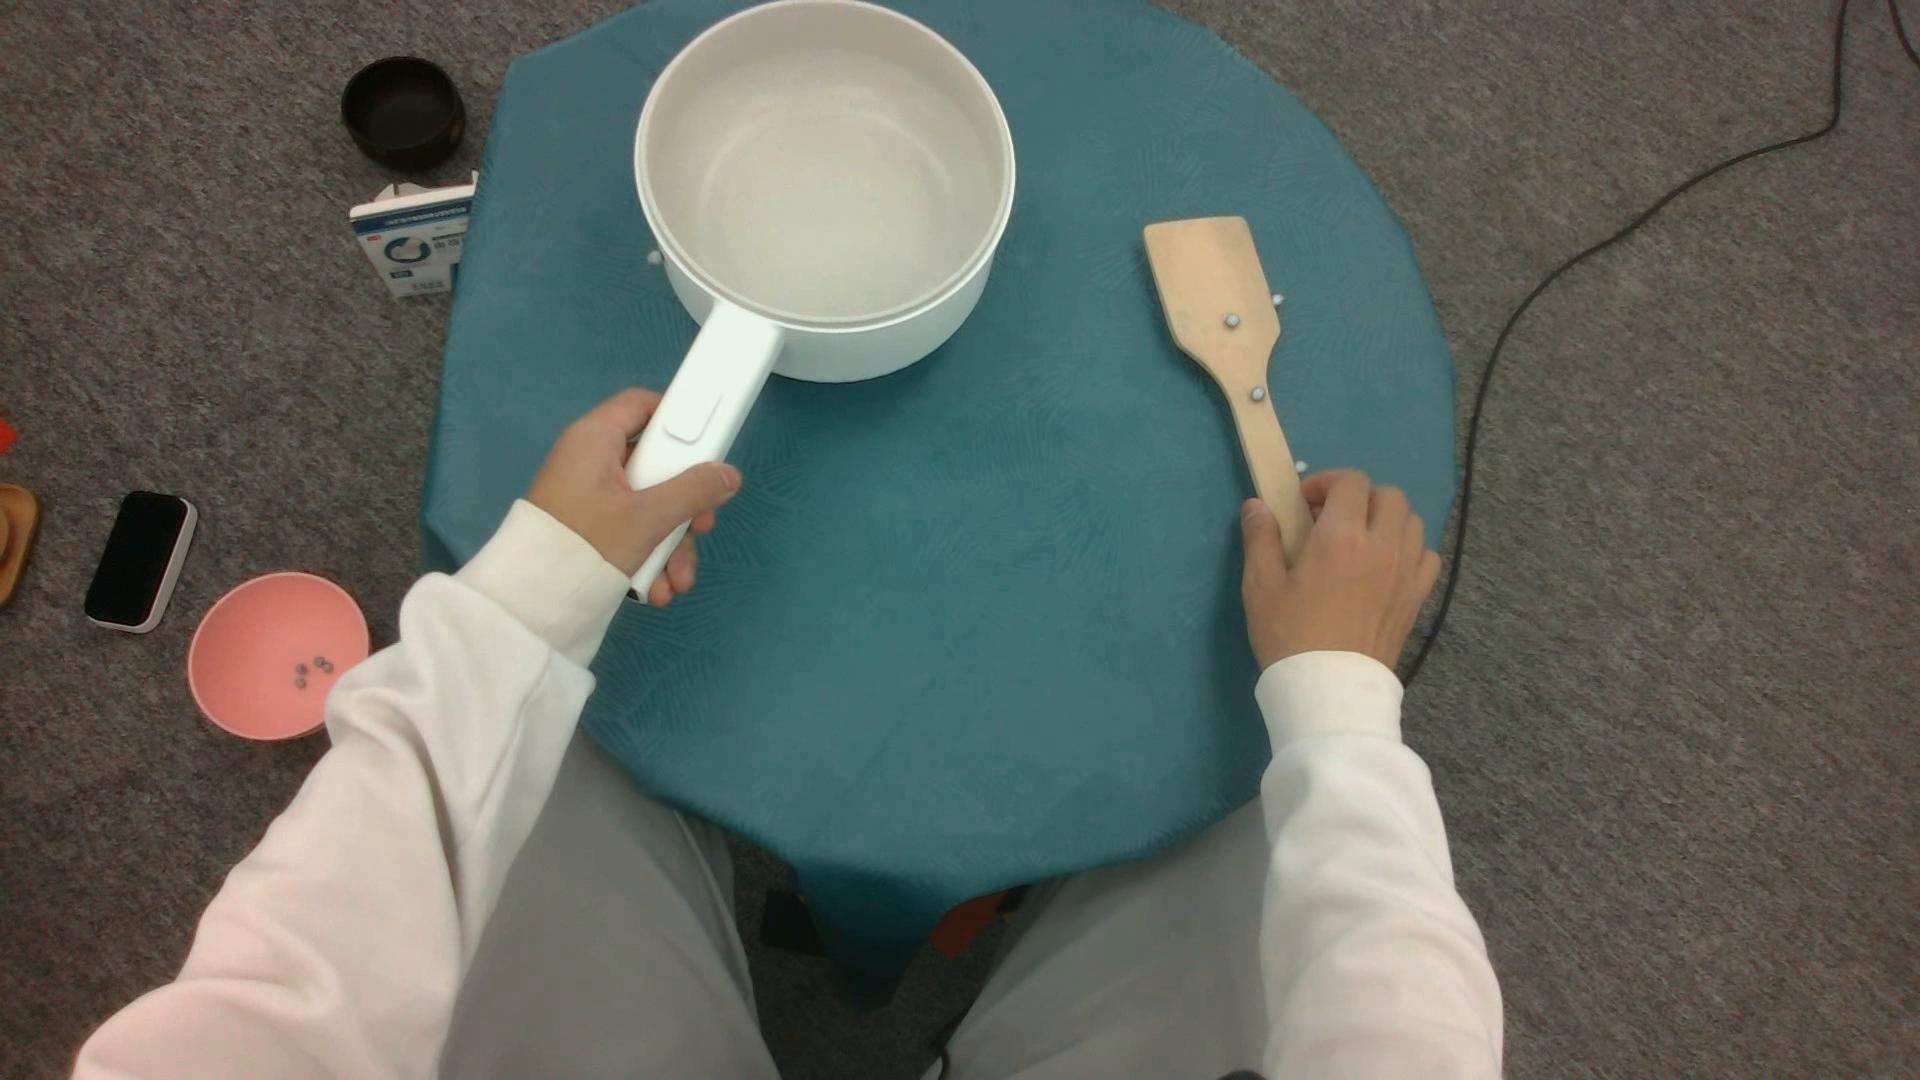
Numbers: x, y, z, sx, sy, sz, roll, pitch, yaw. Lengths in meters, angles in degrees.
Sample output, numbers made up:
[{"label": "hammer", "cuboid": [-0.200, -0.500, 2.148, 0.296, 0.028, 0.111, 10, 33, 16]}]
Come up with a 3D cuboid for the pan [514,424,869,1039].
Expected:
[{"label": "pan", "cuboid": [-0.162, 0.103, 0.782, 0.201, 0.101, 0.356, 6, 58, 2]}]

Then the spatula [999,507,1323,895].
[{"label": "spatula", "cuboid": [0.124, 0.091, 0.836, 0.072, 0.010, 0.293, -21, 55, -20]}]
